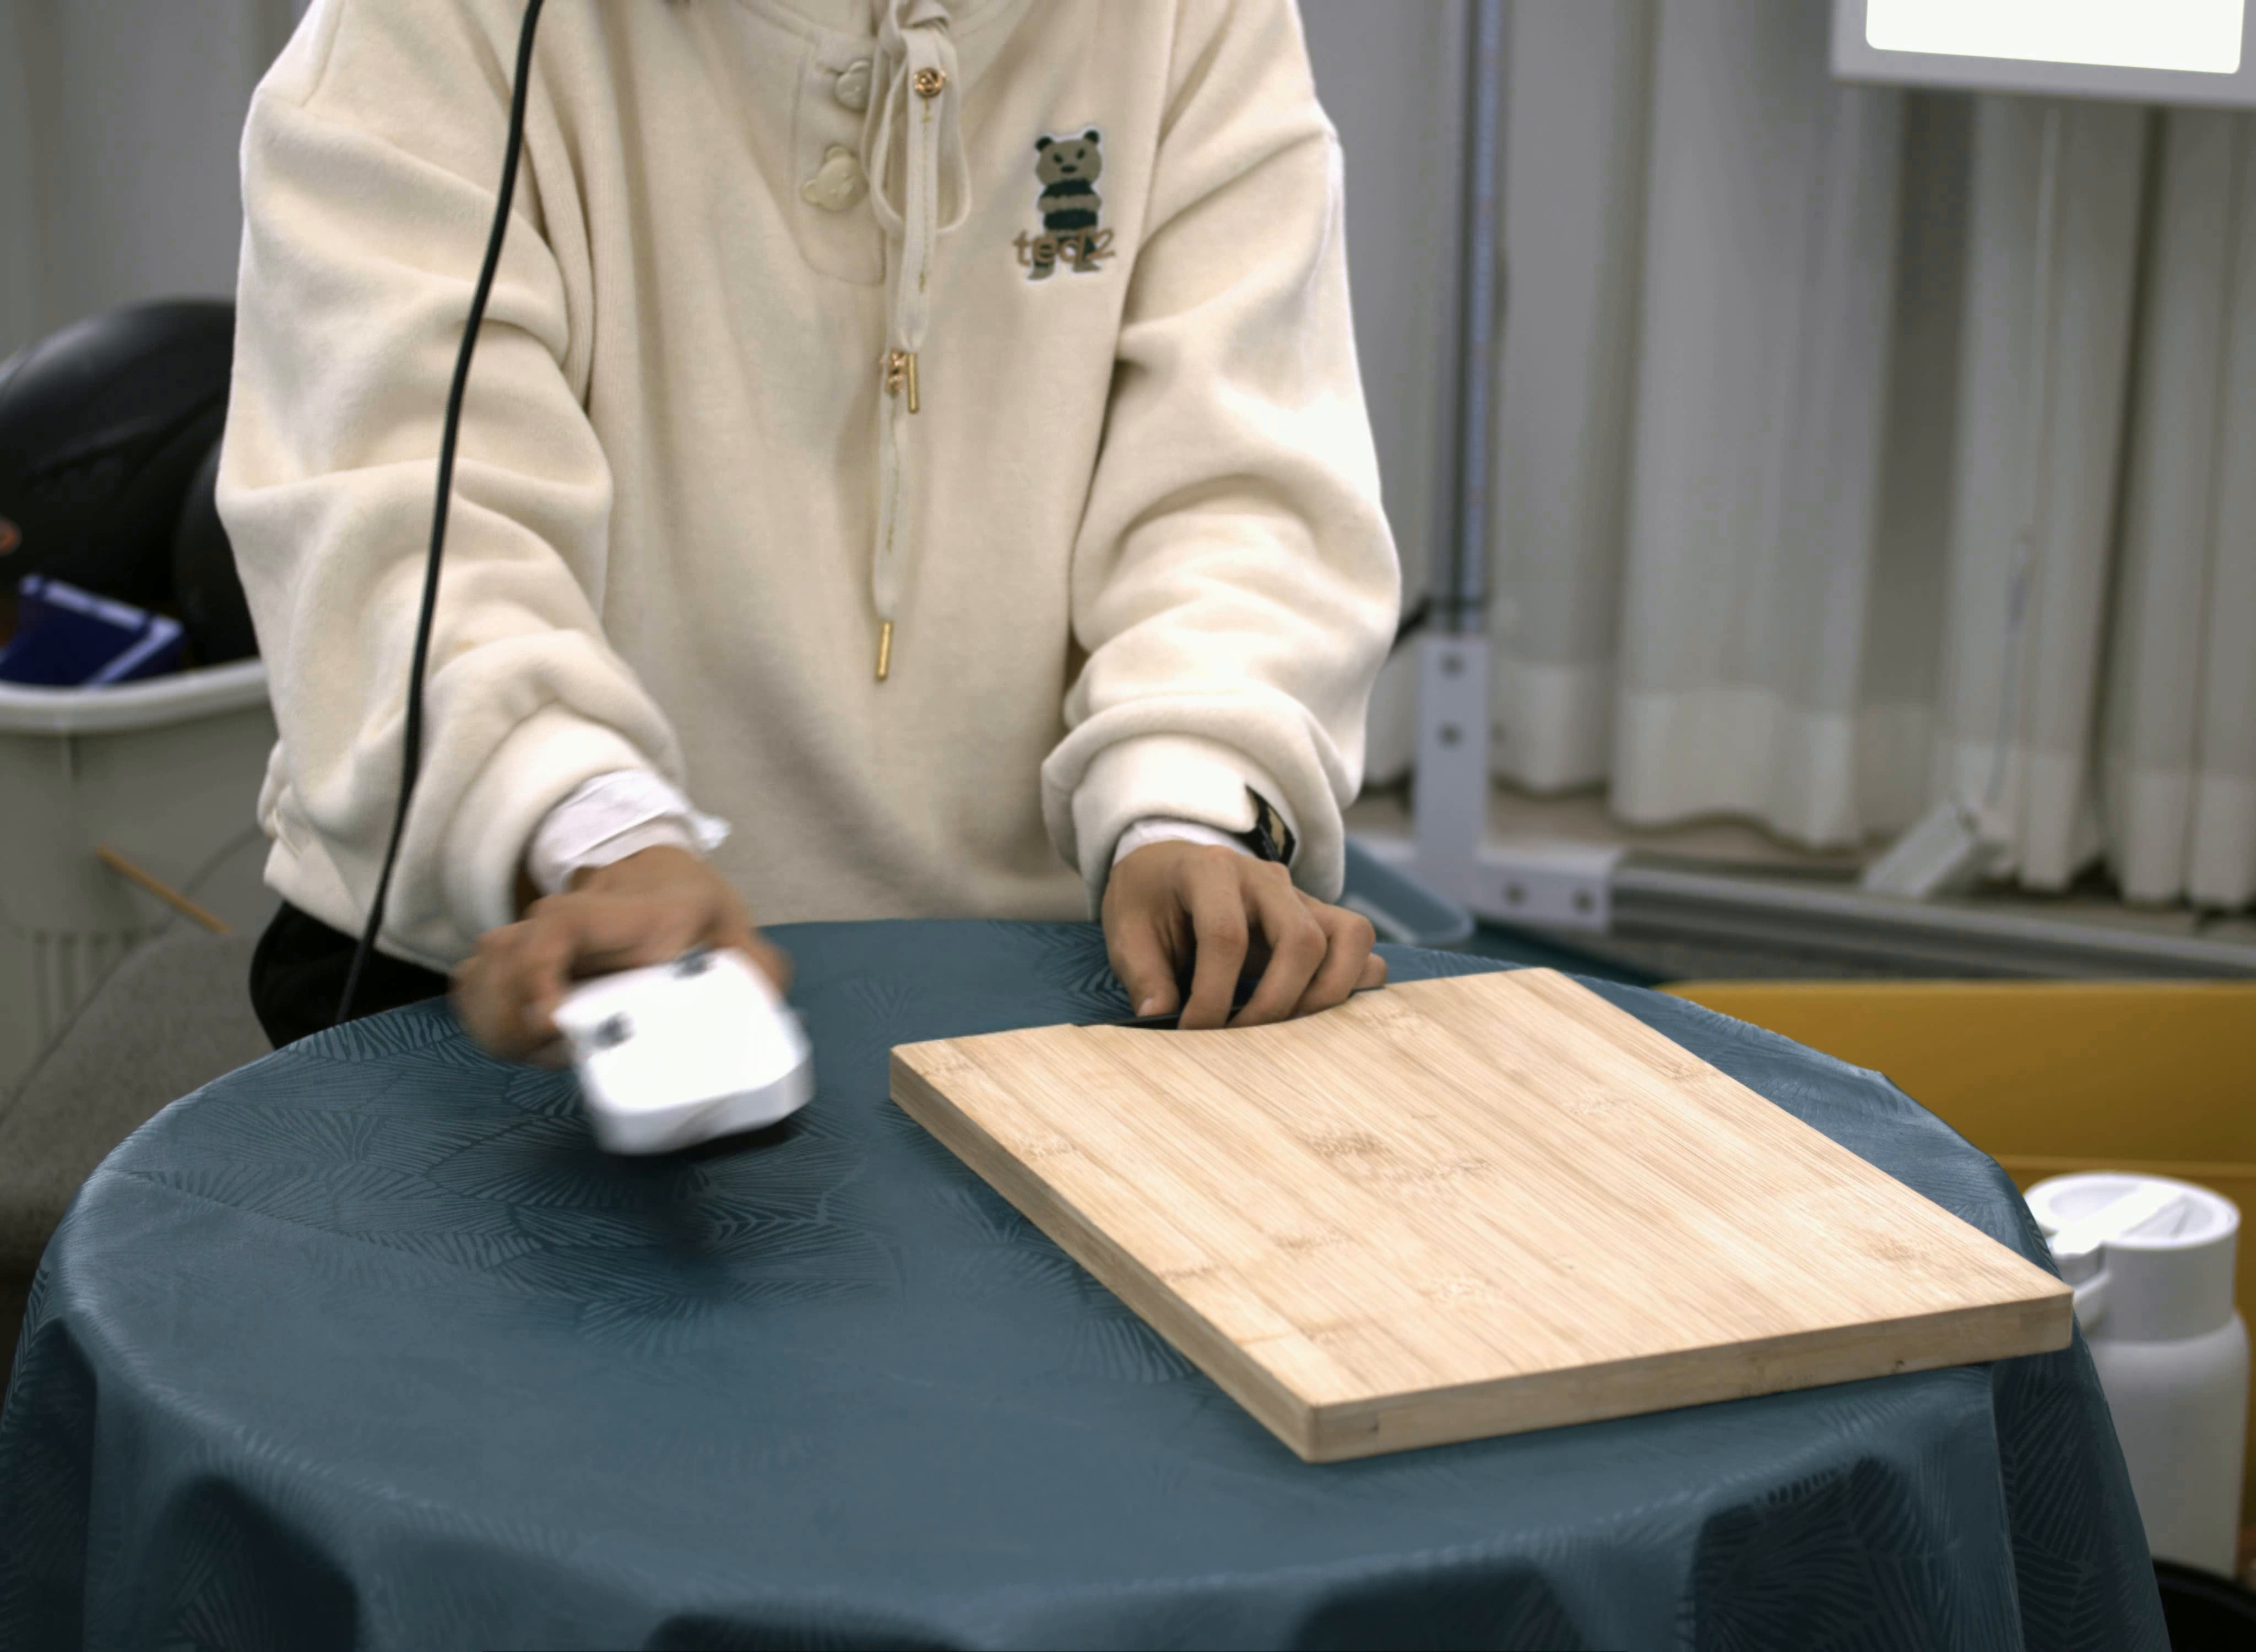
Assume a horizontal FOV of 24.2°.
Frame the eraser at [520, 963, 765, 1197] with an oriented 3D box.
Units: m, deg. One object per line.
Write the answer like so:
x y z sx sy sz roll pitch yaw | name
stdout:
-0.146 0.072 1.593 0.063 0.035 0.130 -10 20 -10 | eraser

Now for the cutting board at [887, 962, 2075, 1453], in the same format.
0.095 0.109 1.605 0.251 0.024 0.344 -6 17 -22 | cutting board
